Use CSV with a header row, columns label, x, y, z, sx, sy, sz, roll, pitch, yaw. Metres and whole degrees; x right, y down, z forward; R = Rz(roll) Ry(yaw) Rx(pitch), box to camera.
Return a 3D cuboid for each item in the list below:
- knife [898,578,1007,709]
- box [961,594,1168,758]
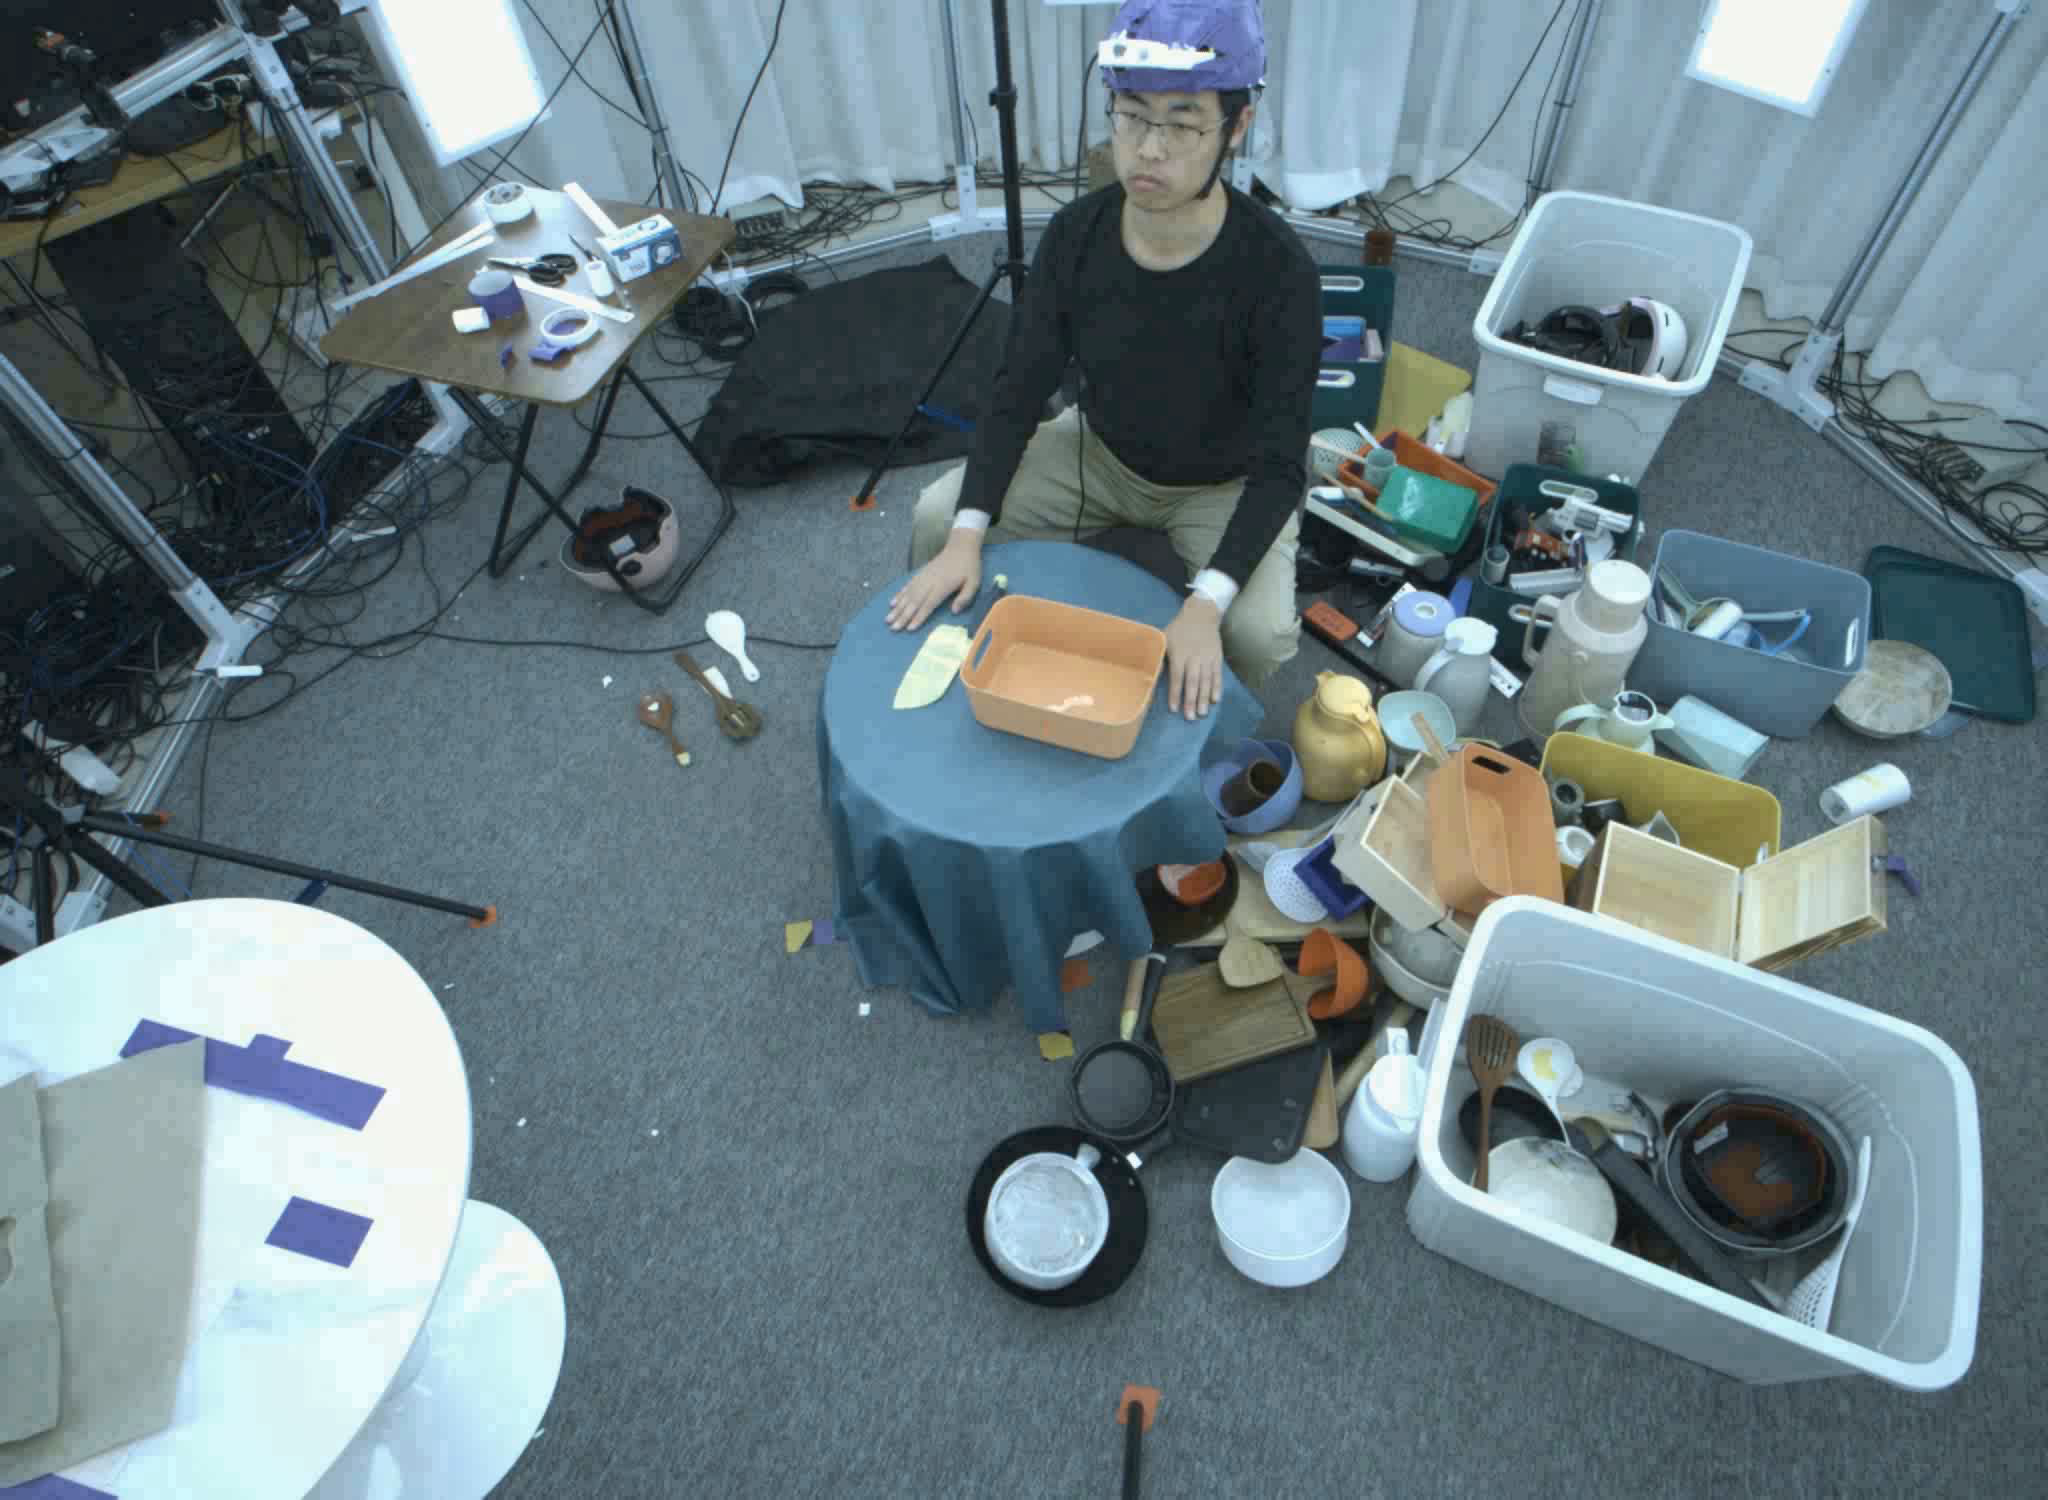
label,x,y,z,sx,sy,sz,roll,pitch,yaw
knife,-0.110,-0.168,1.902,0.080,0.027,0.290,24,60,15
box,0.062,-0.106,1.796,0.270,0.104,0.199,15,58,13
